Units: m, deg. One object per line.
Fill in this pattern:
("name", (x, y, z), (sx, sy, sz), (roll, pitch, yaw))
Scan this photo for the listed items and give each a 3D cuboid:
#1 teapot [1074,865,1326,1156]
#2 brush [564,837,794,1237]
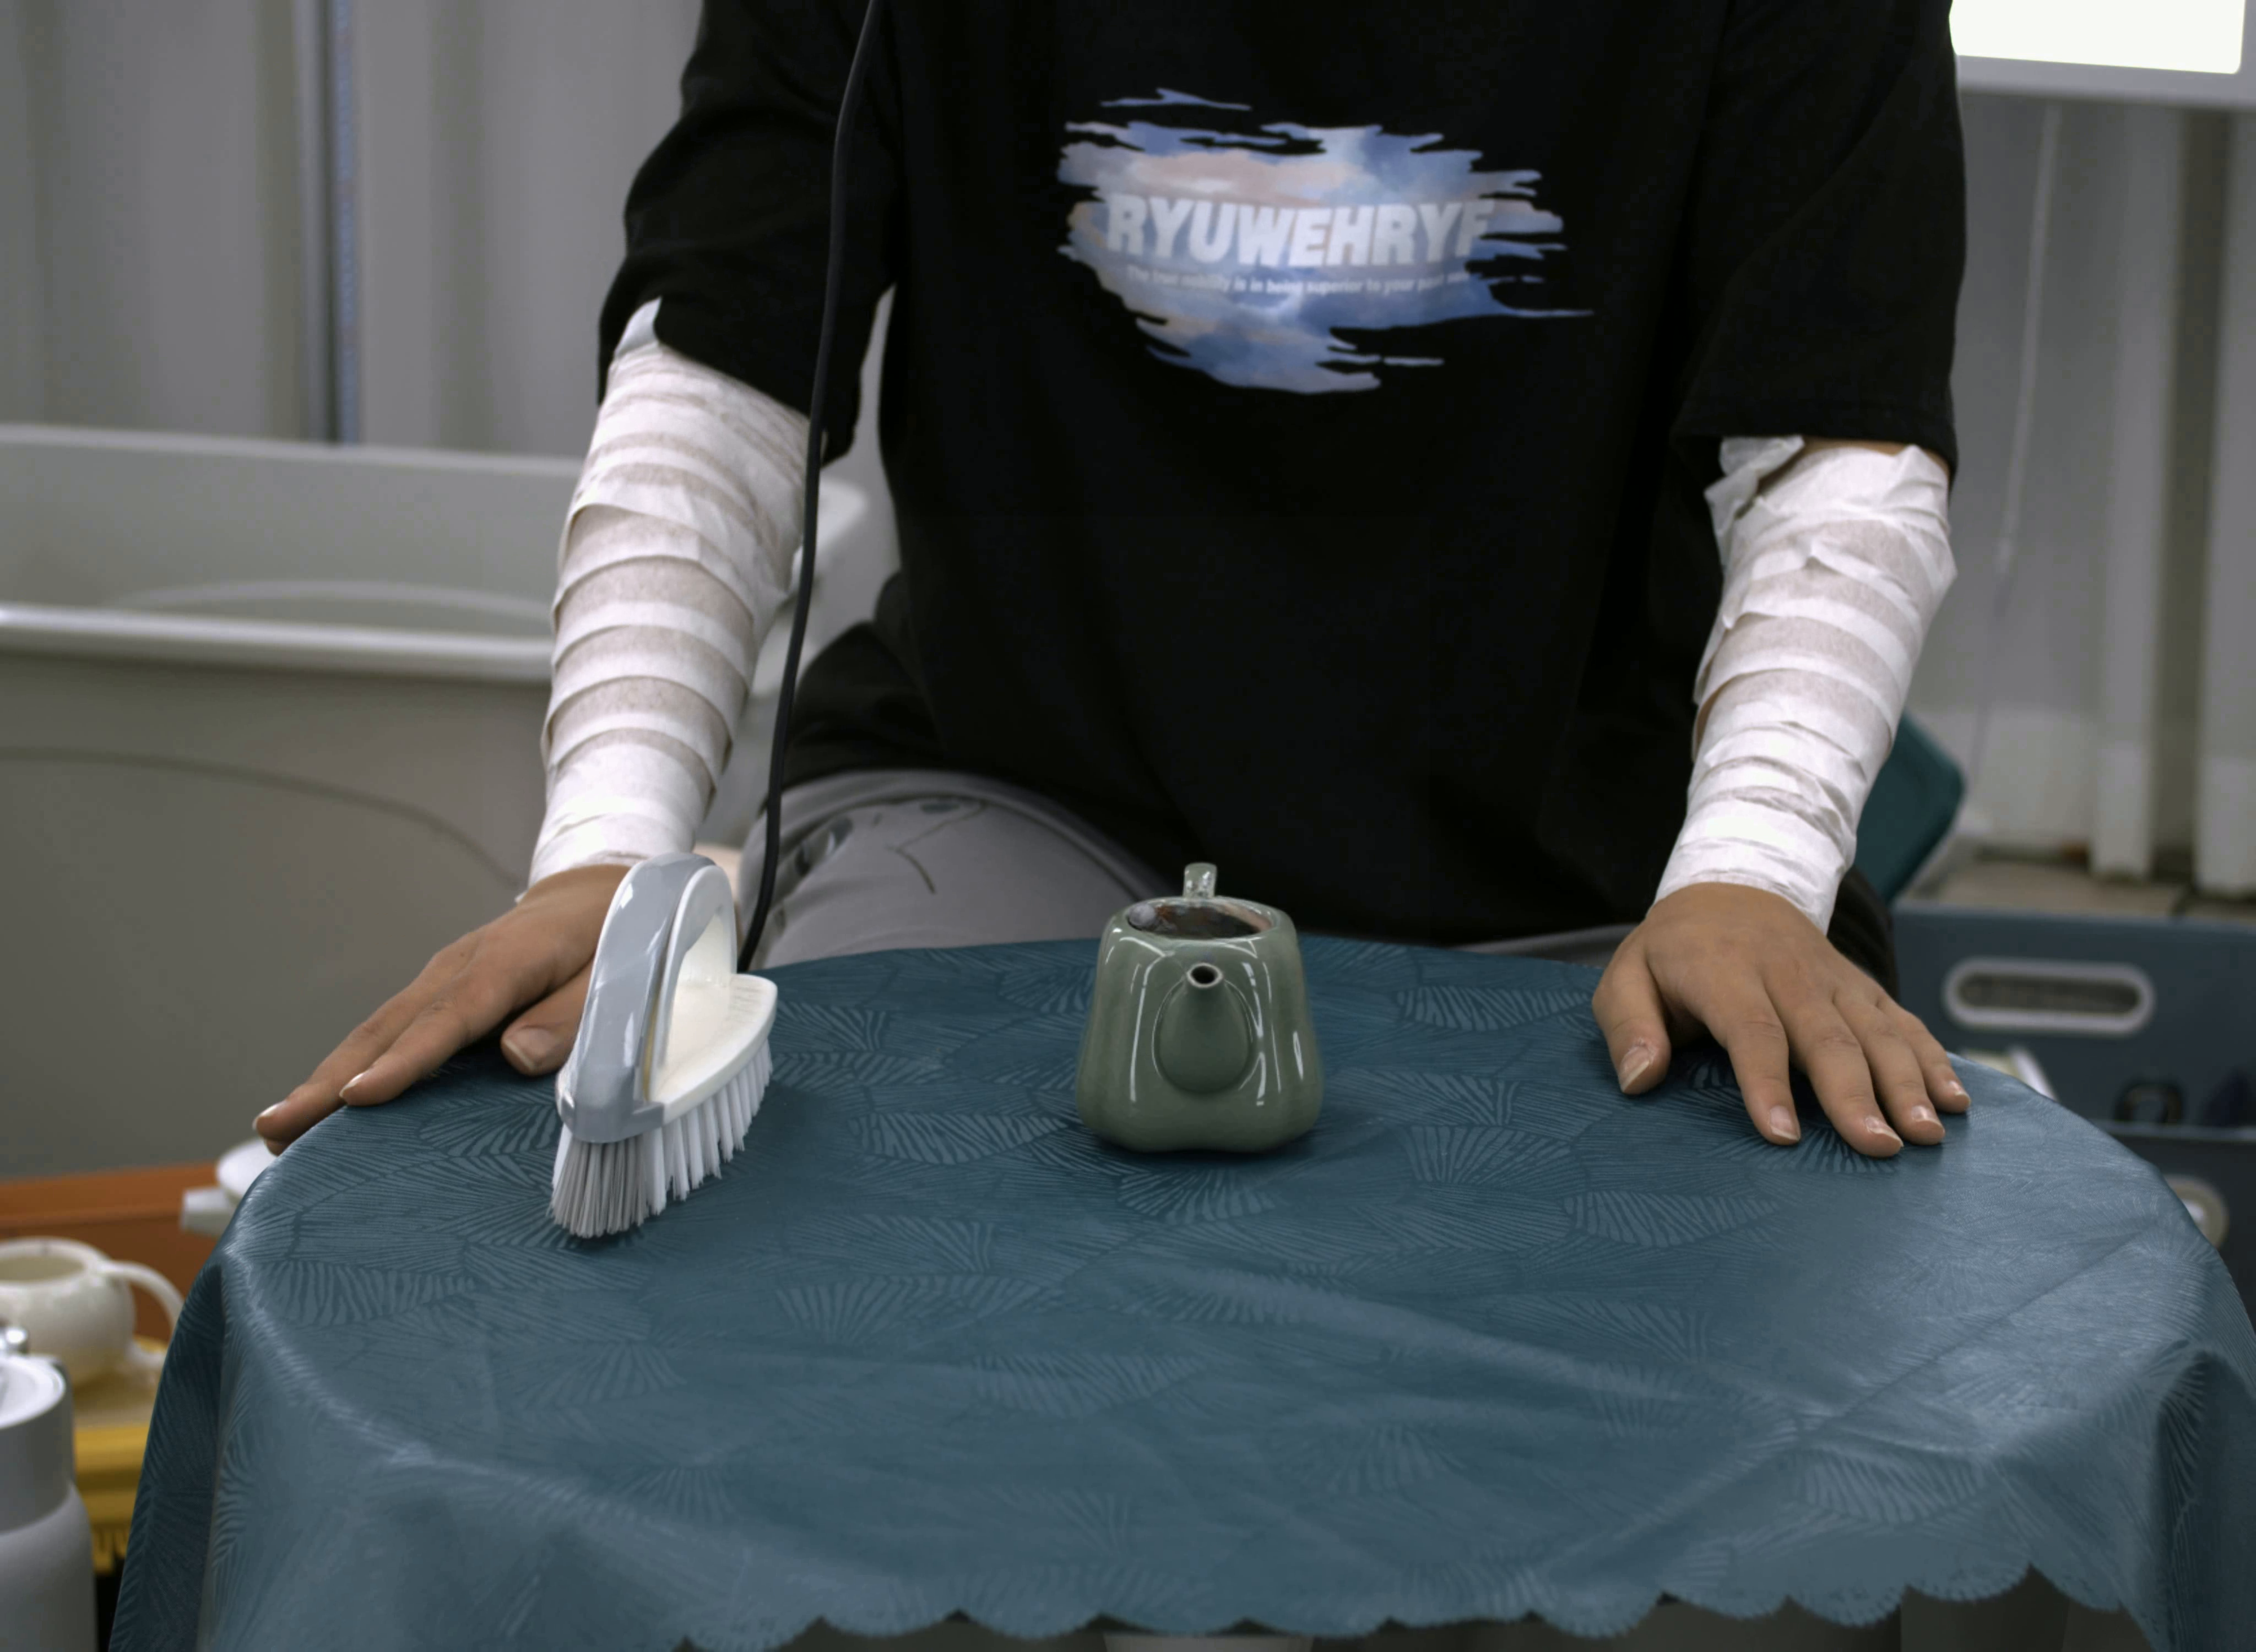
("teapot", (0.024, 0.061, 1.675), (0.079, 0.076, 0.132), (3, 14, 3))
("brush", (-0.146, 0.060, 1.636), (0.061, 0.095, 0.175), (0, 17, 8))
